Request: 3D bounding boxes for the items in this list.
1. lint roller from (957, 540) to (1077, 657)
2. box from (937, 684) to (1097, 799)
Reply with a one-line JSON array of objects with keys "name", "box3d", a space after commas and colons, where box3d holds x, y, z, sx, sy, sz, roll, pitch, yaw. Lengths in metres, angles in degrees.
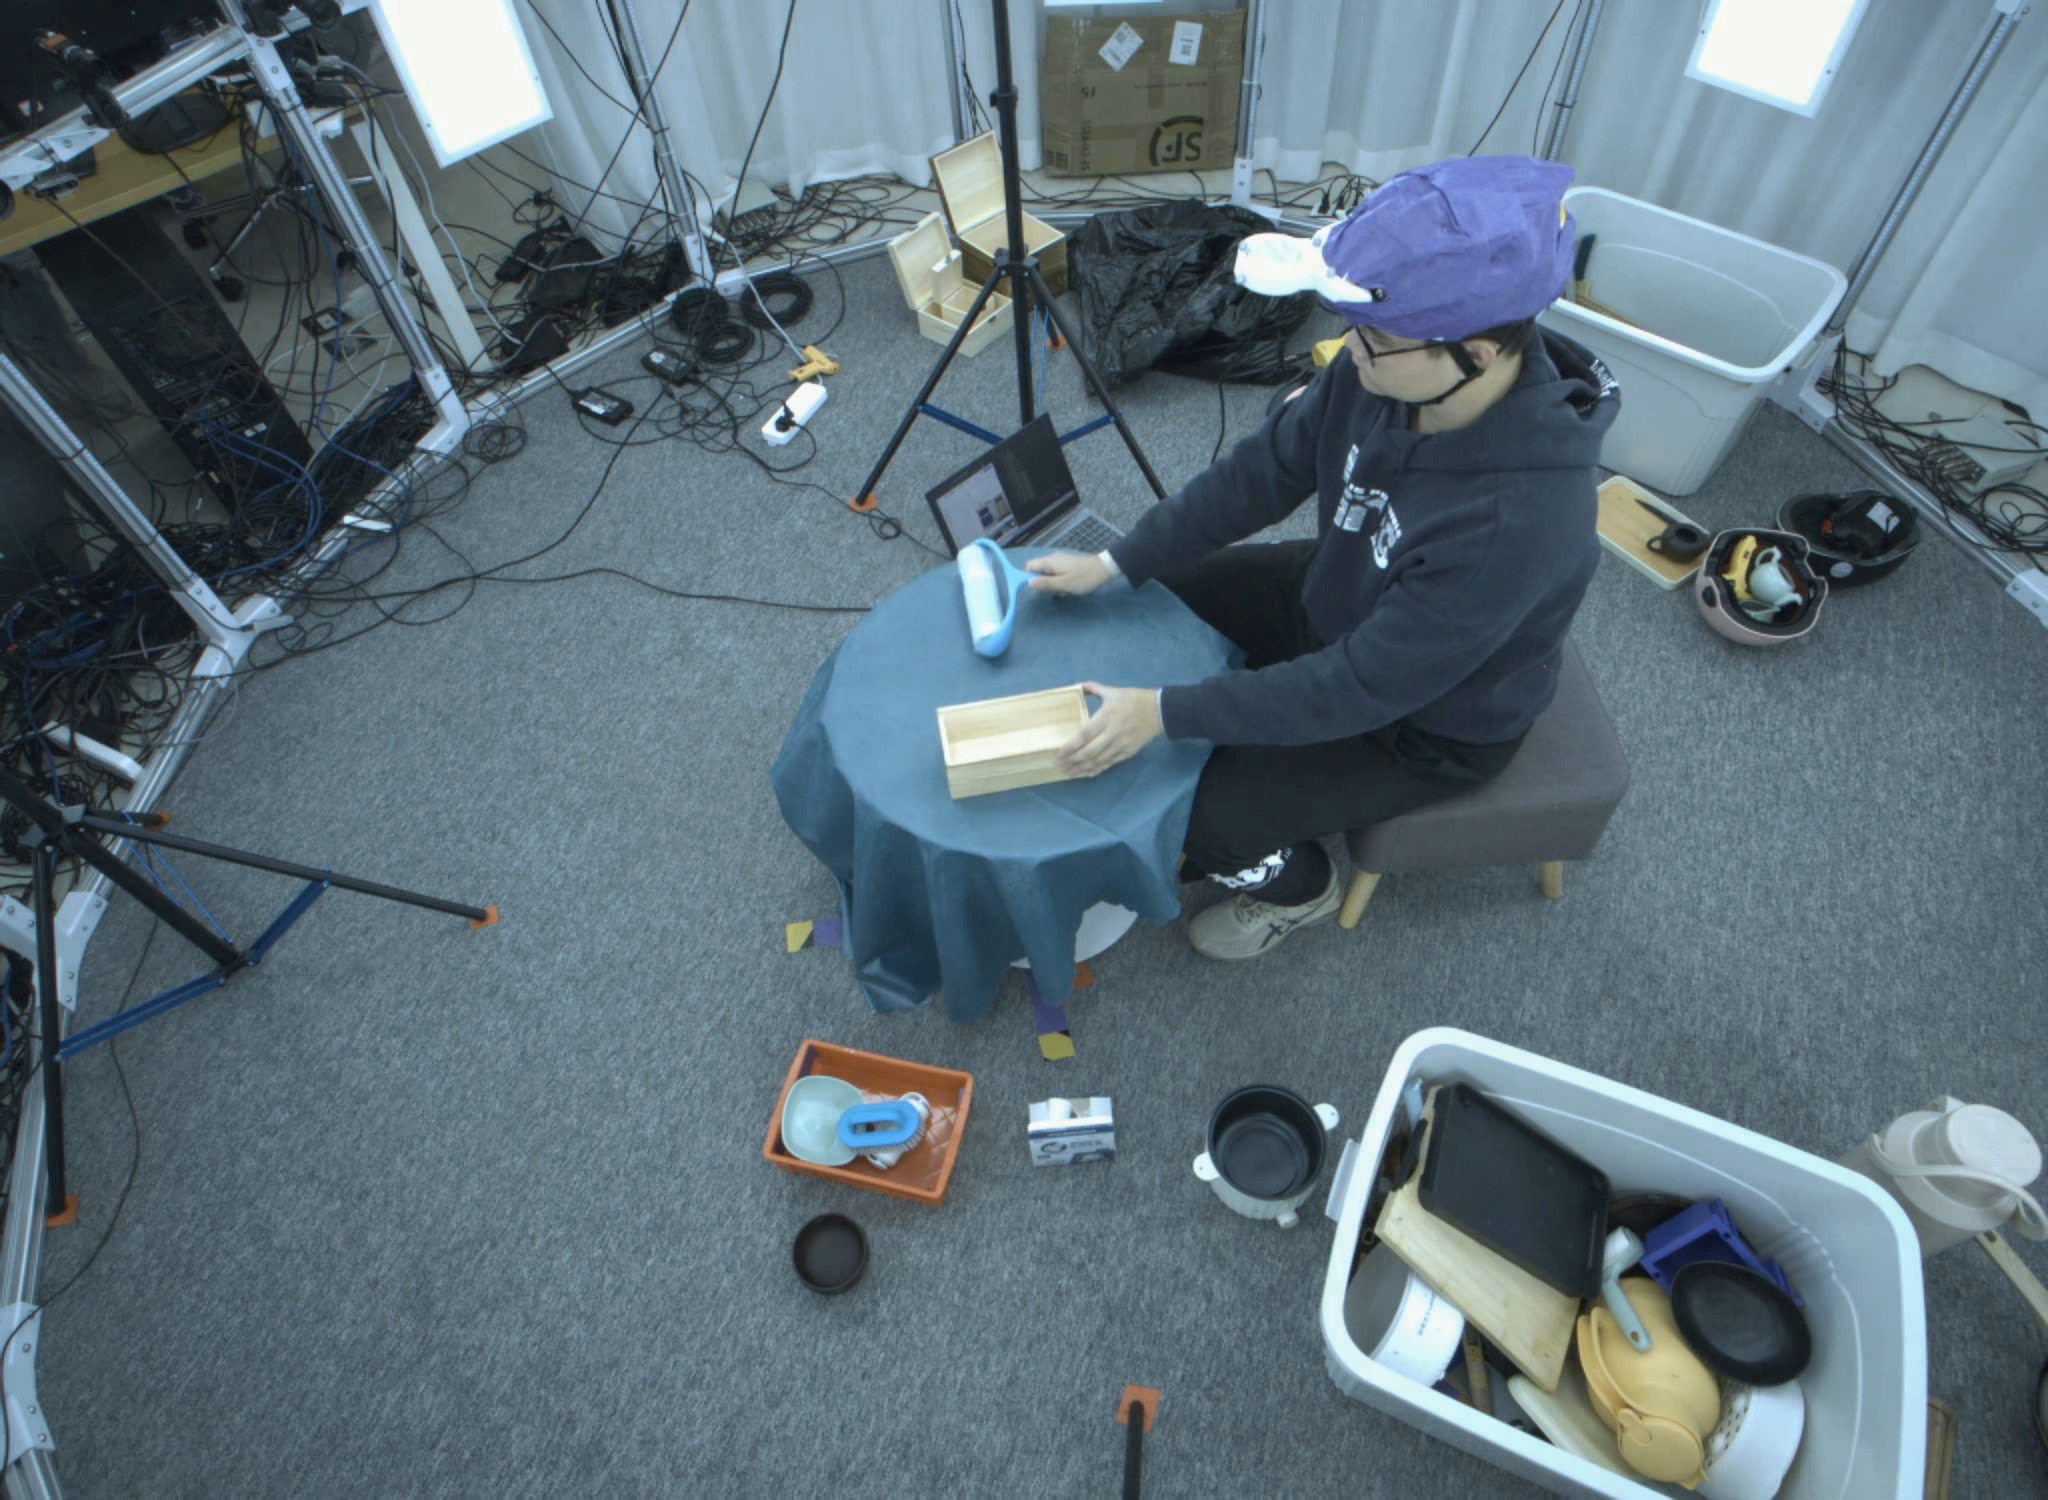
[{"name": "lint roller", "box3d": [-0.010, -0.253, 1.922, 0.180, 0.069, 0.225, -16, 53, 1]}, {"name": "box", "box3d": [-0.010, -0.012, 1.748, 0.212, 0.081, 0.106, -10, 55, -6]}]
